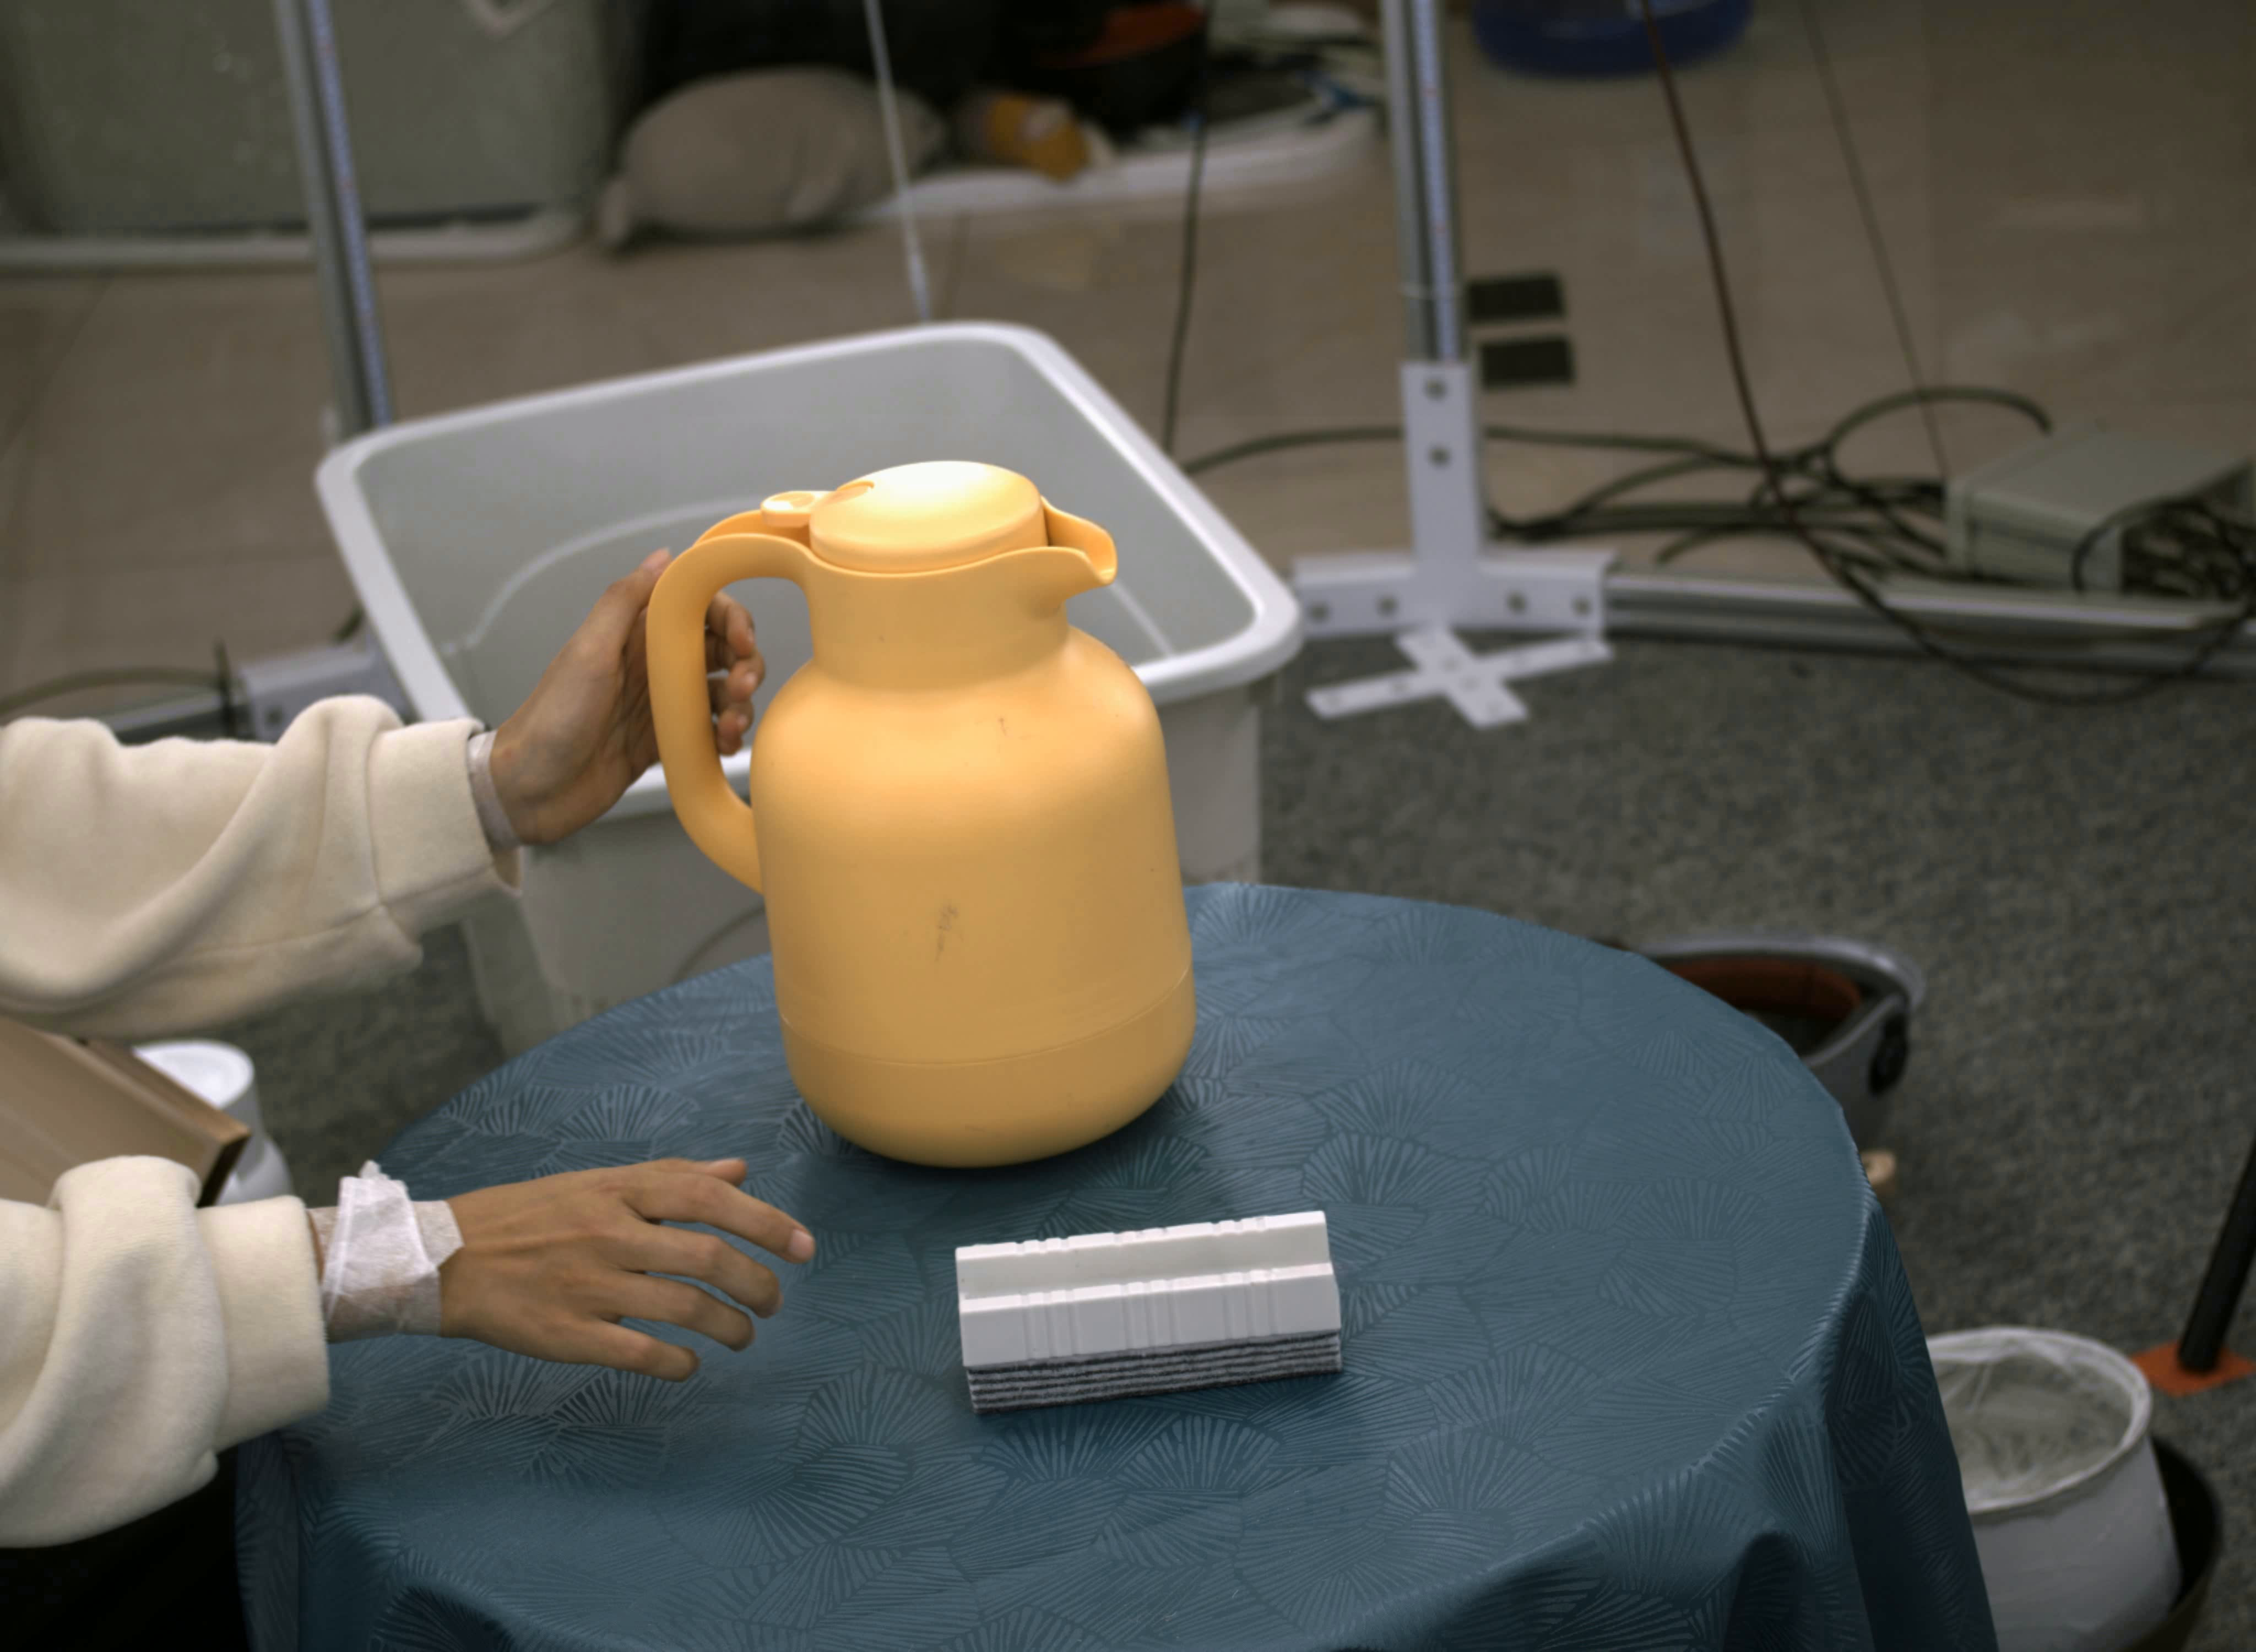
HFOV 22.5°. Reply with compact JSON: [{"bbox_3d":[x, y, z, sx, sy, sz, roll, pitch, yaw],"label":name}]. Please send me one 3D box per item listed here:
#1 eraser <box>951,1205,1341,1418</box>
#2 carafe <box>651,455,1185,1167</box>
[{"bbox_3d":[0.006,0.173,2.018,0.134,0.047,0.049,-7,29,-3],"label":"eraser"},{"bbox_3d":[-0.082,-0.012,2.174,0.201,0.264,0.161,6,25,22],"label":"carafe"}]
